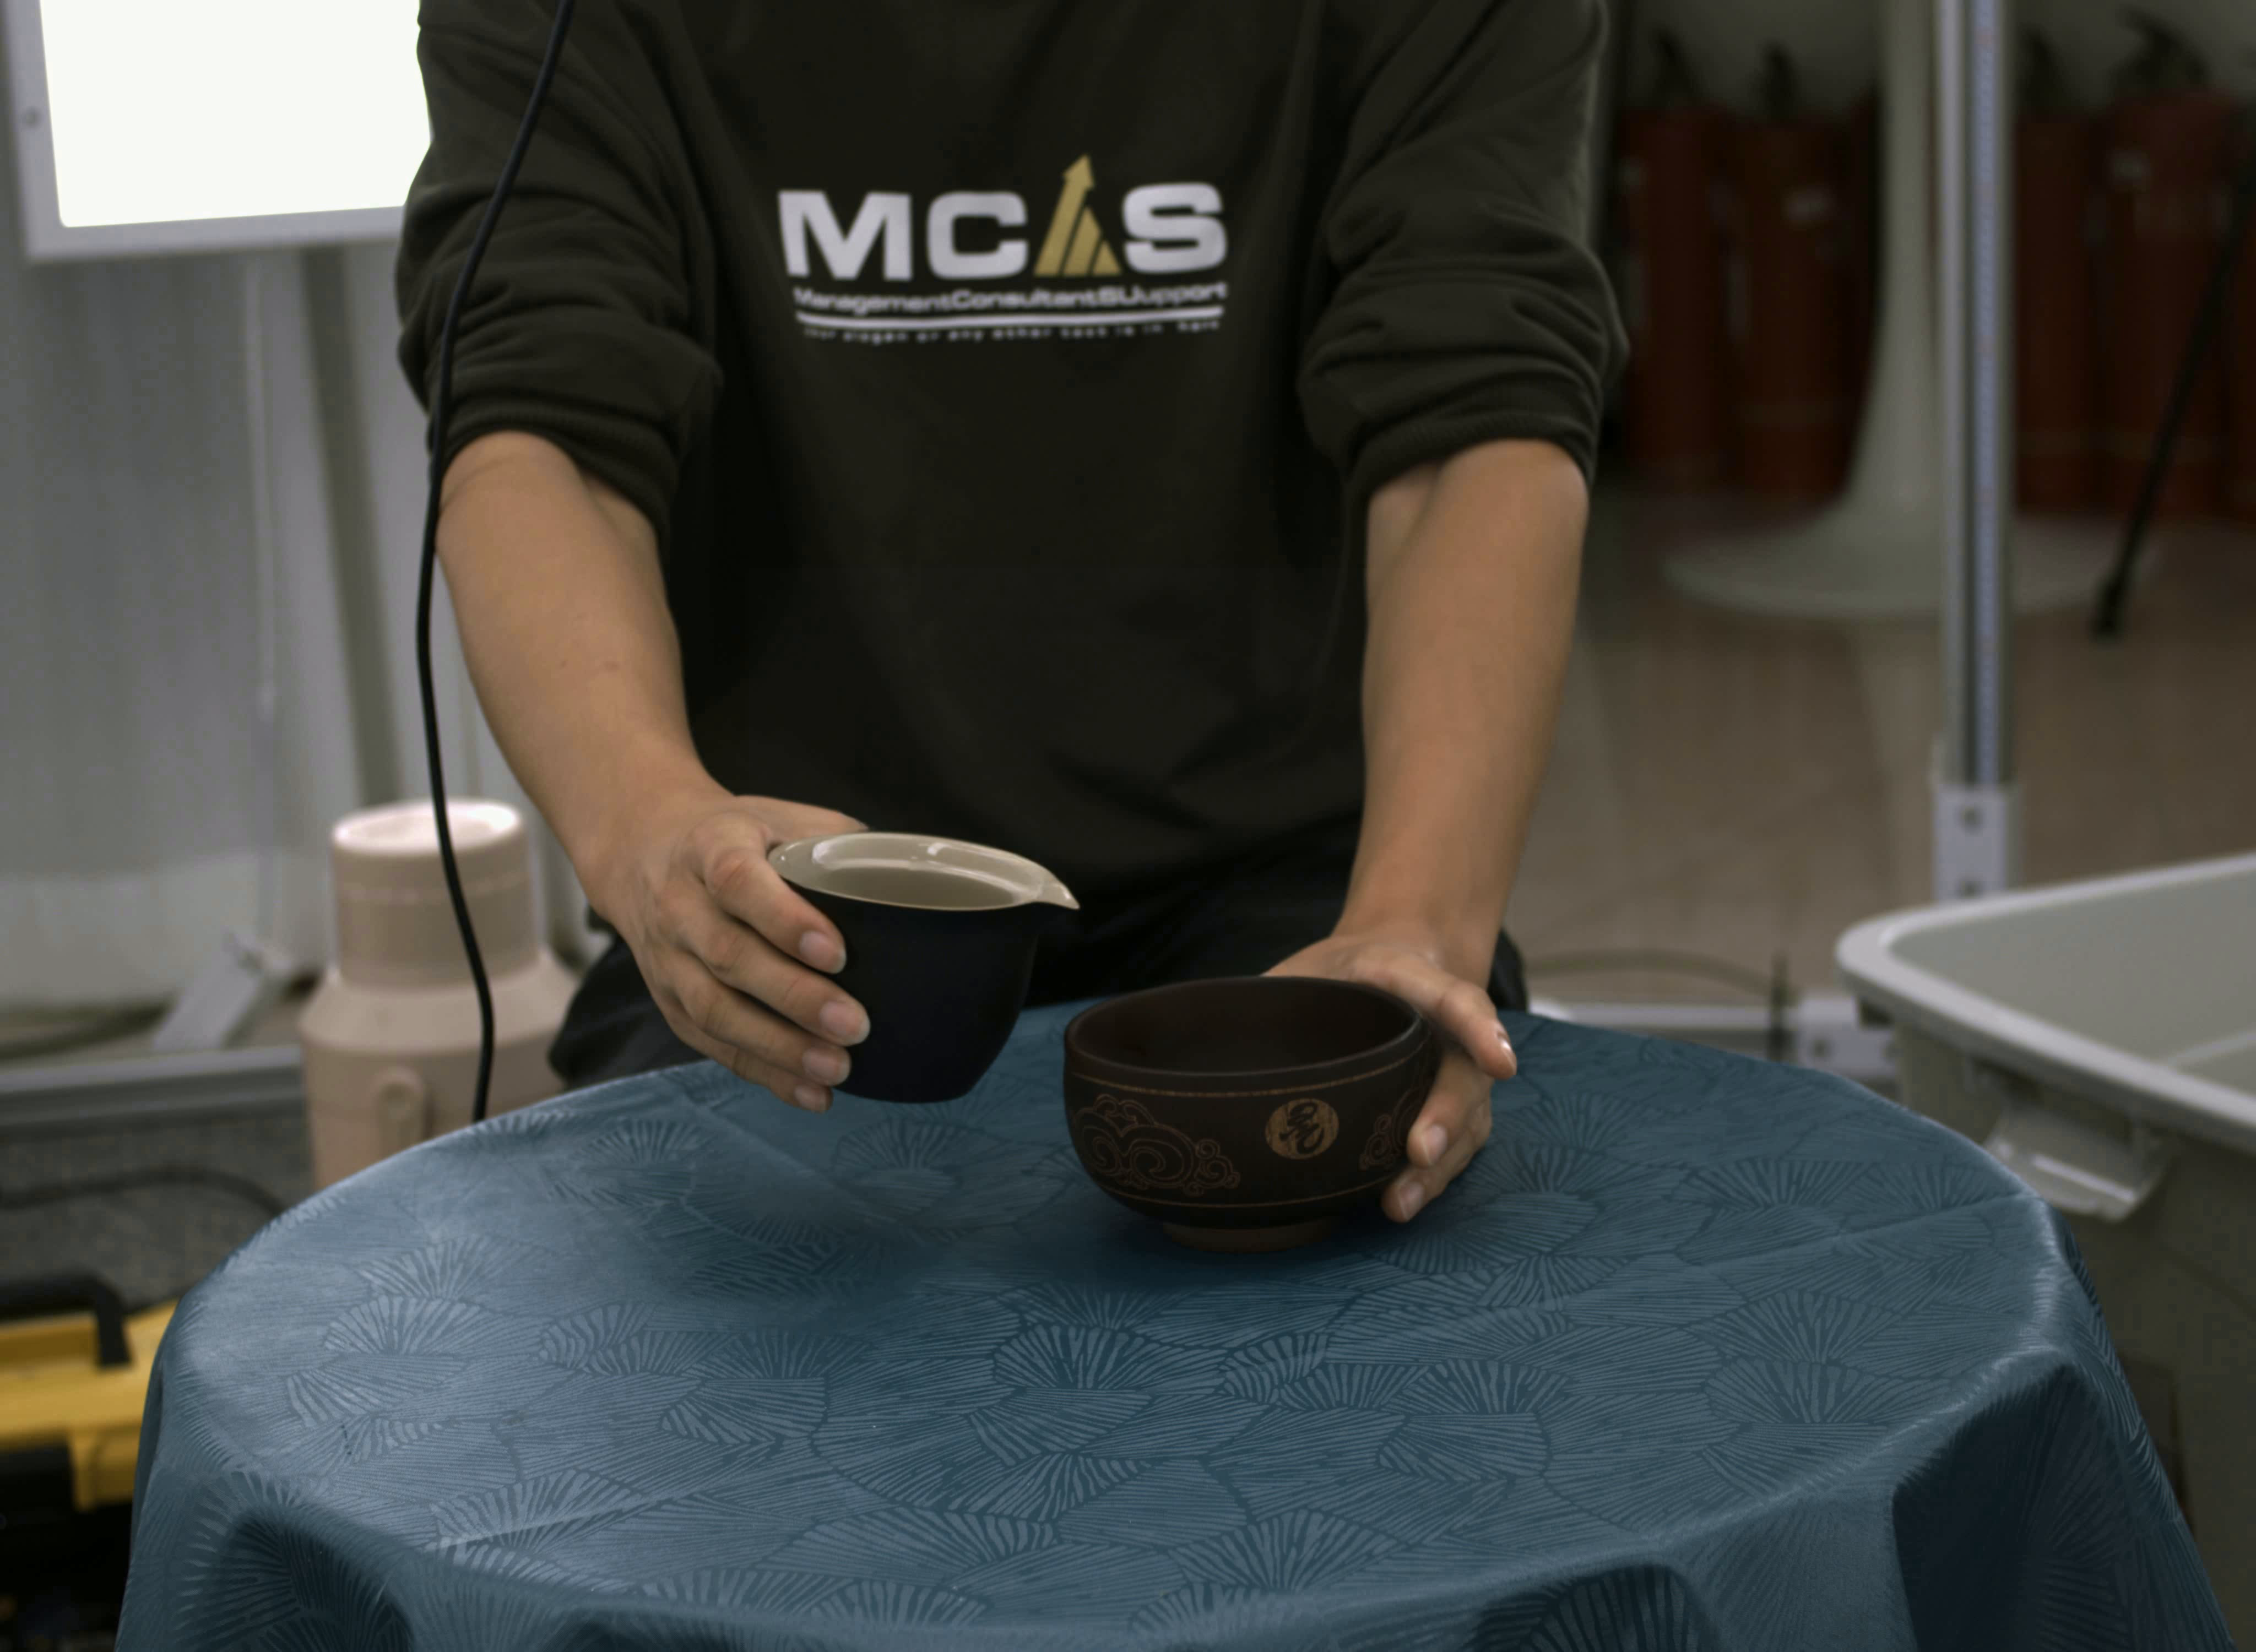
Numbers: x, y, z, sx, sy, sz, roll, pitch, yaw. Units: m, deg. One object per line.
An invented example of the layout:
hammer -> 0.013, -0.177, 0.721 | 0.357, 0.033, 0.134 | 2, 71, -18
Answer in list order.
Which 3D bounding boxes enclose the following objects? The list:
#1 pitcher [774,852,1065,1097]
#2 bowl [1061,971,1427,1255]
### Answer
pitcher -> -0.068, 0.046, 1.720 | 0.096, 0.072, 0.083 | 10, 12, 20
bowl -> 0.038, 0.095, 1.722 | 0.116, 0.070, 0.118 | -5, 14, 0
